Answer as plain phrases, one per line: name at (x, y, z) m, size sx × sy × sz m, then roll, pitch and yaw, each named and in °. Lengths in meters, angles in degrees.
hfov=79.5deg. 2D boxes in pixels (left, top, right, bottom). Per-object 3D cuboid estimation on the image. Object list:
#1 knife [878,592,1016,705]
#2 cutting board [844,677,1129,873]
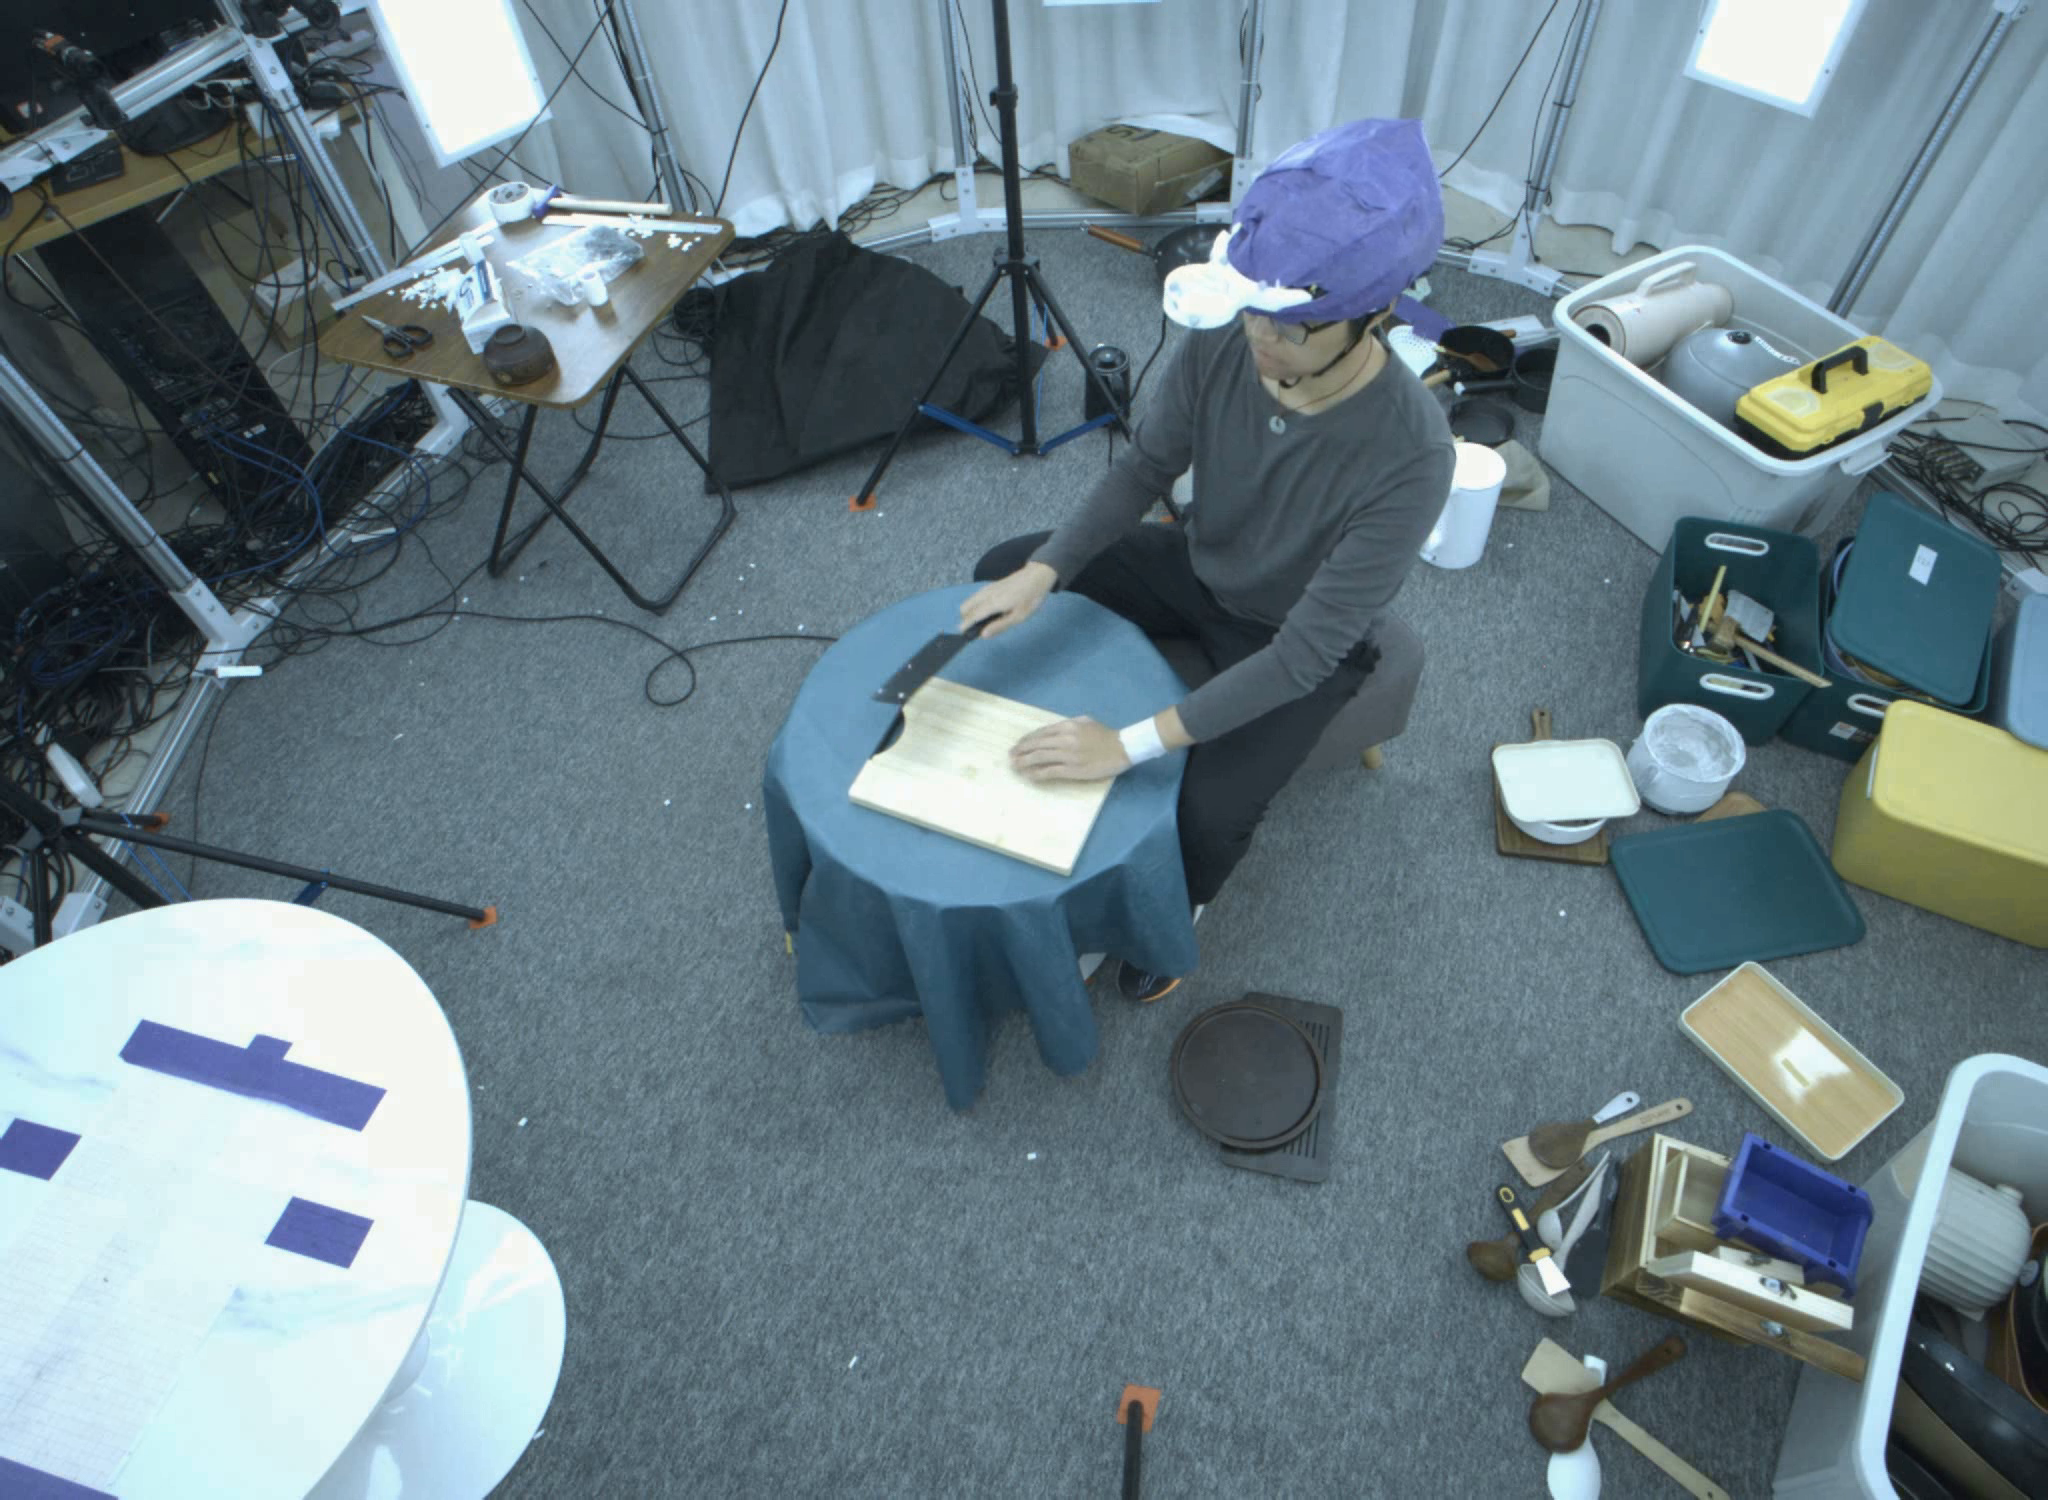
knife at (-0.104, -0.150, 1.785) m, size 0.079 × 0.021 × 0.304 m, roll 12°, pitch 42°, yaw 34°
cutting board at (-0.053, 0.024, 1.770) m, size 0.345 × 0.024 × 0.250 m, roll 17°, pitch 56°, yaw 13°
